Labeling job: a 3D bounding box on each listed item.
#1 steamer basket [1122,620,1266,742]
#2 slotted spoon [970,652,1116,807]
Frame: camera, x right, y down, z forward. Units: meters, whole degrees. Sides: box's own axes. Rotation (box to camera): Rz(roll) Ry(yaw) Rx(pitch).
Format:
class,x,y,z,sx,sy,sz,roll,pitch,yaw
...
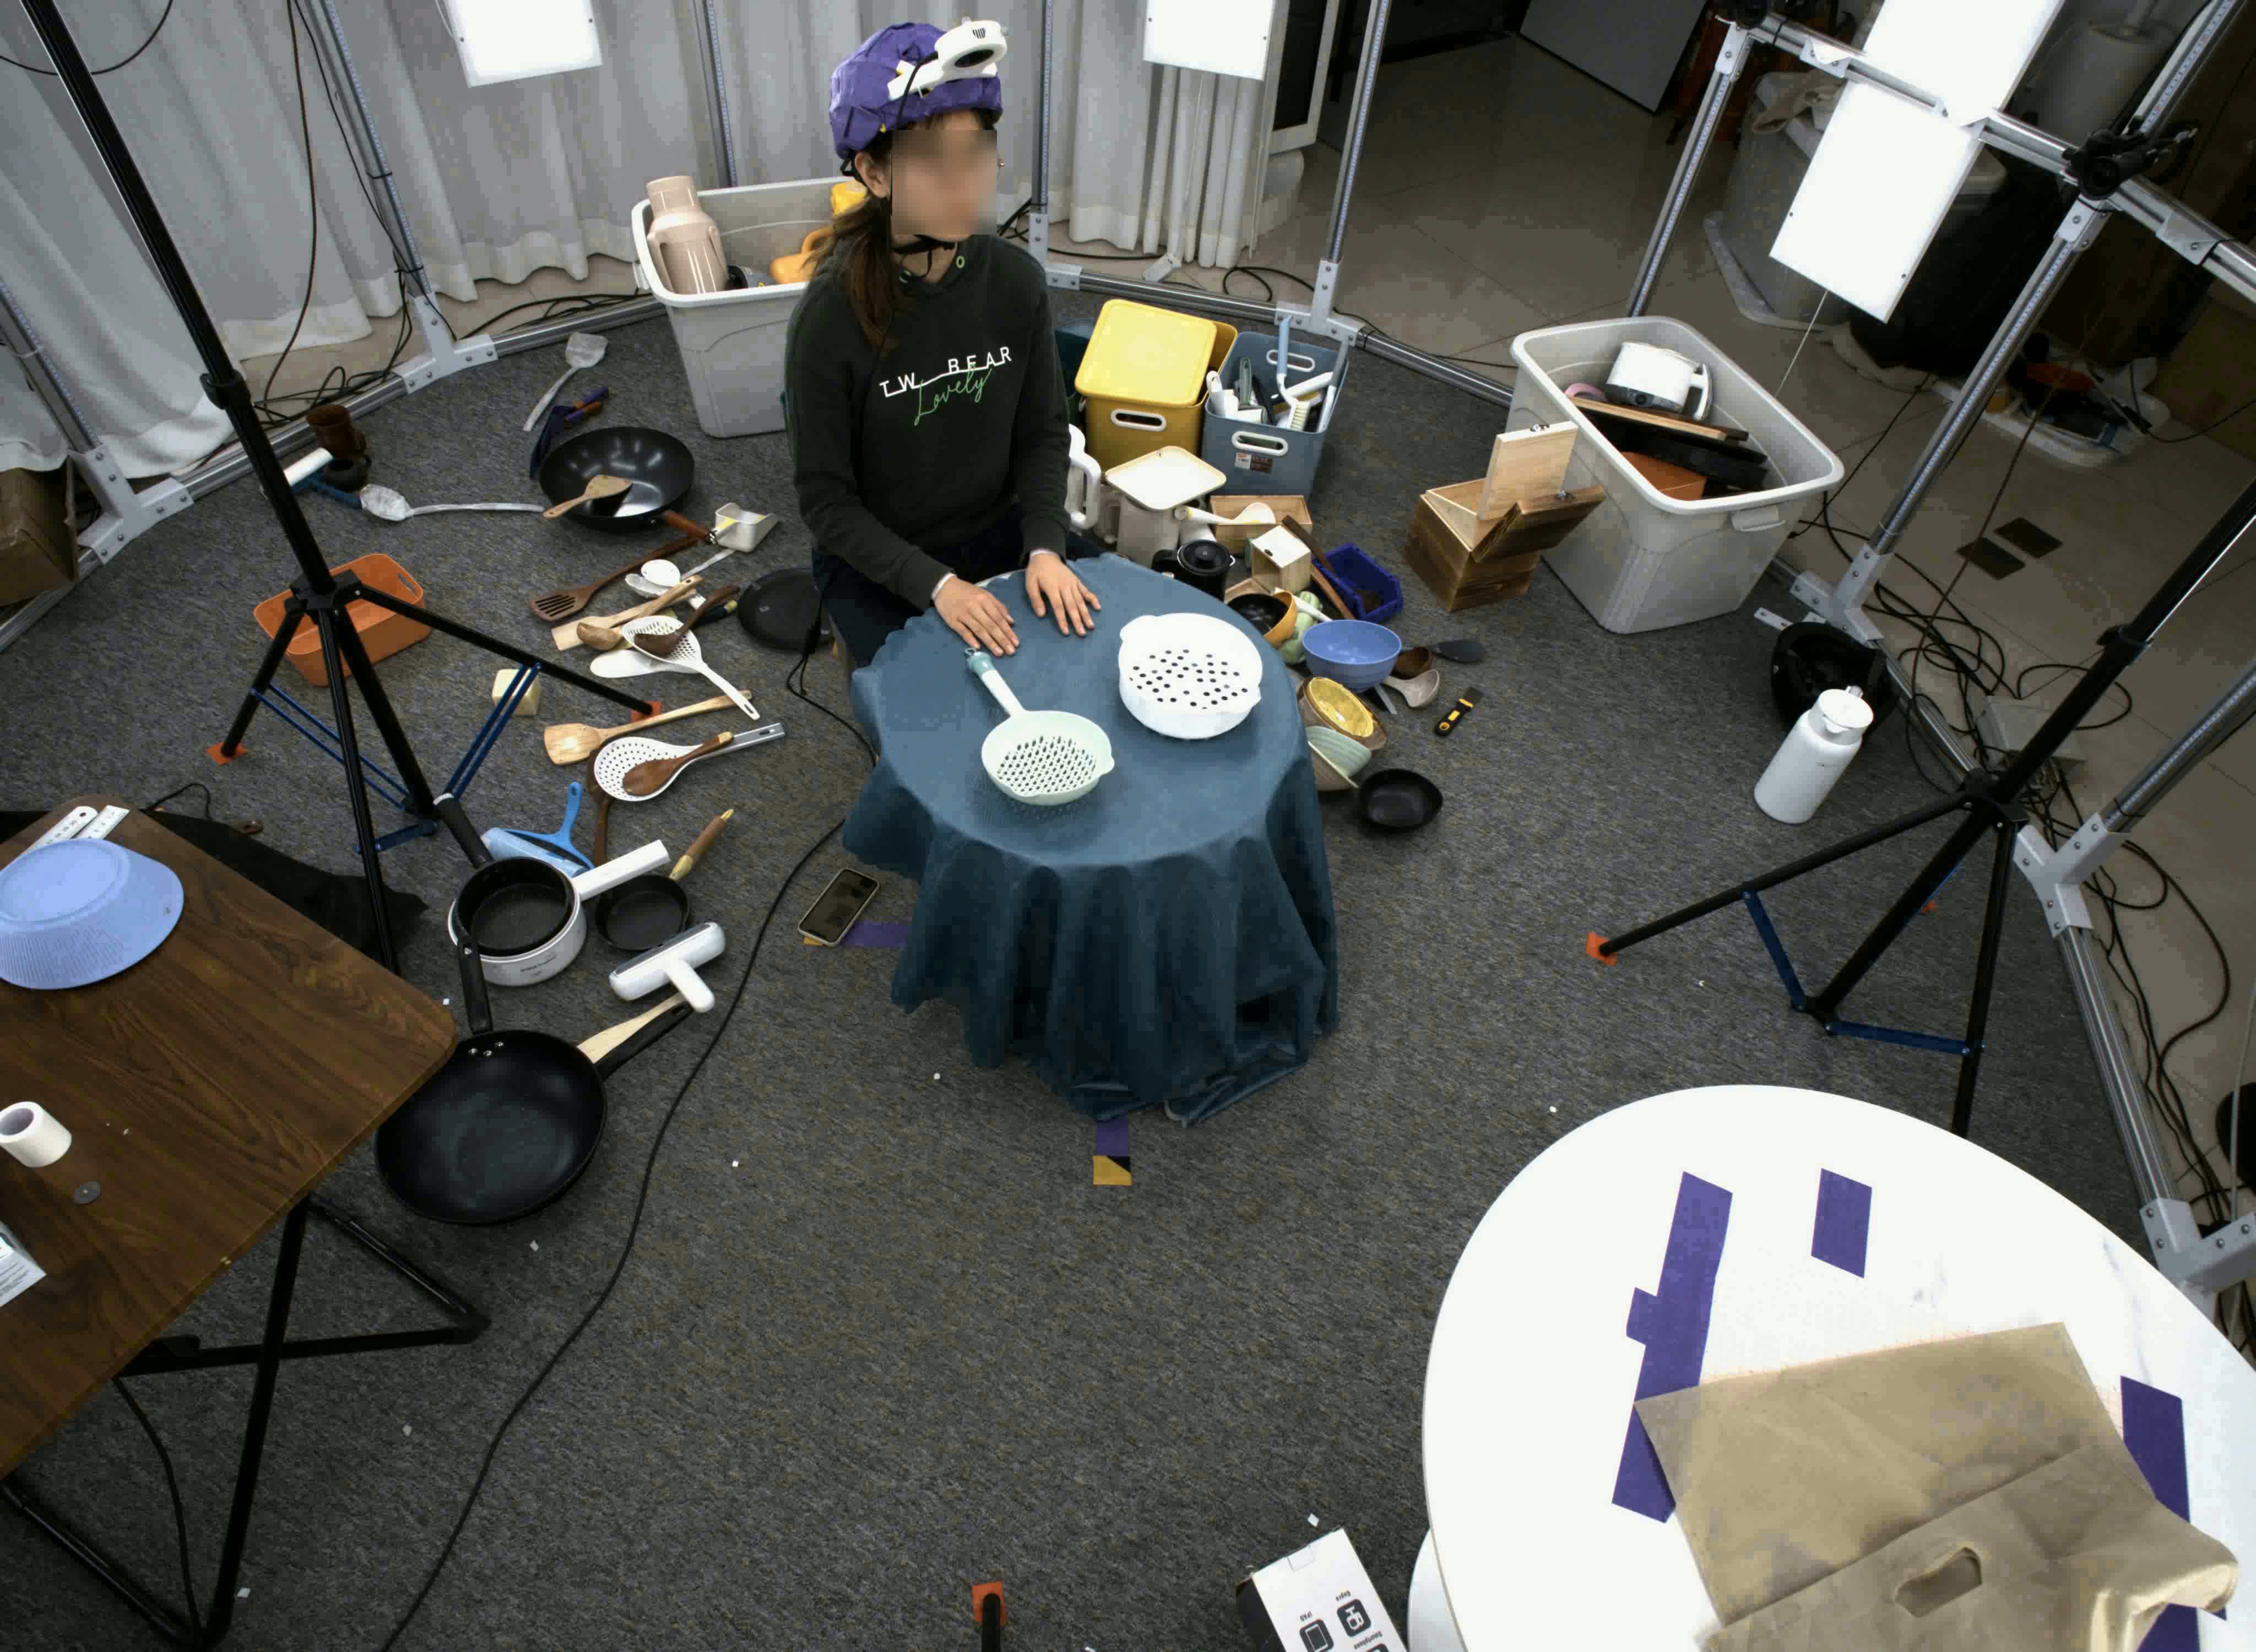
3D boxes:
class,x,y,z,sx,sy,sz,roll,pitch,yaw
steamer basket,0.090,-0.206,1.828,0.234,0.067,0.204,35,54,25
slotted spoon,-0.148,-0.148,1.761,0.169,0.073,0.367,-17,52,-19
